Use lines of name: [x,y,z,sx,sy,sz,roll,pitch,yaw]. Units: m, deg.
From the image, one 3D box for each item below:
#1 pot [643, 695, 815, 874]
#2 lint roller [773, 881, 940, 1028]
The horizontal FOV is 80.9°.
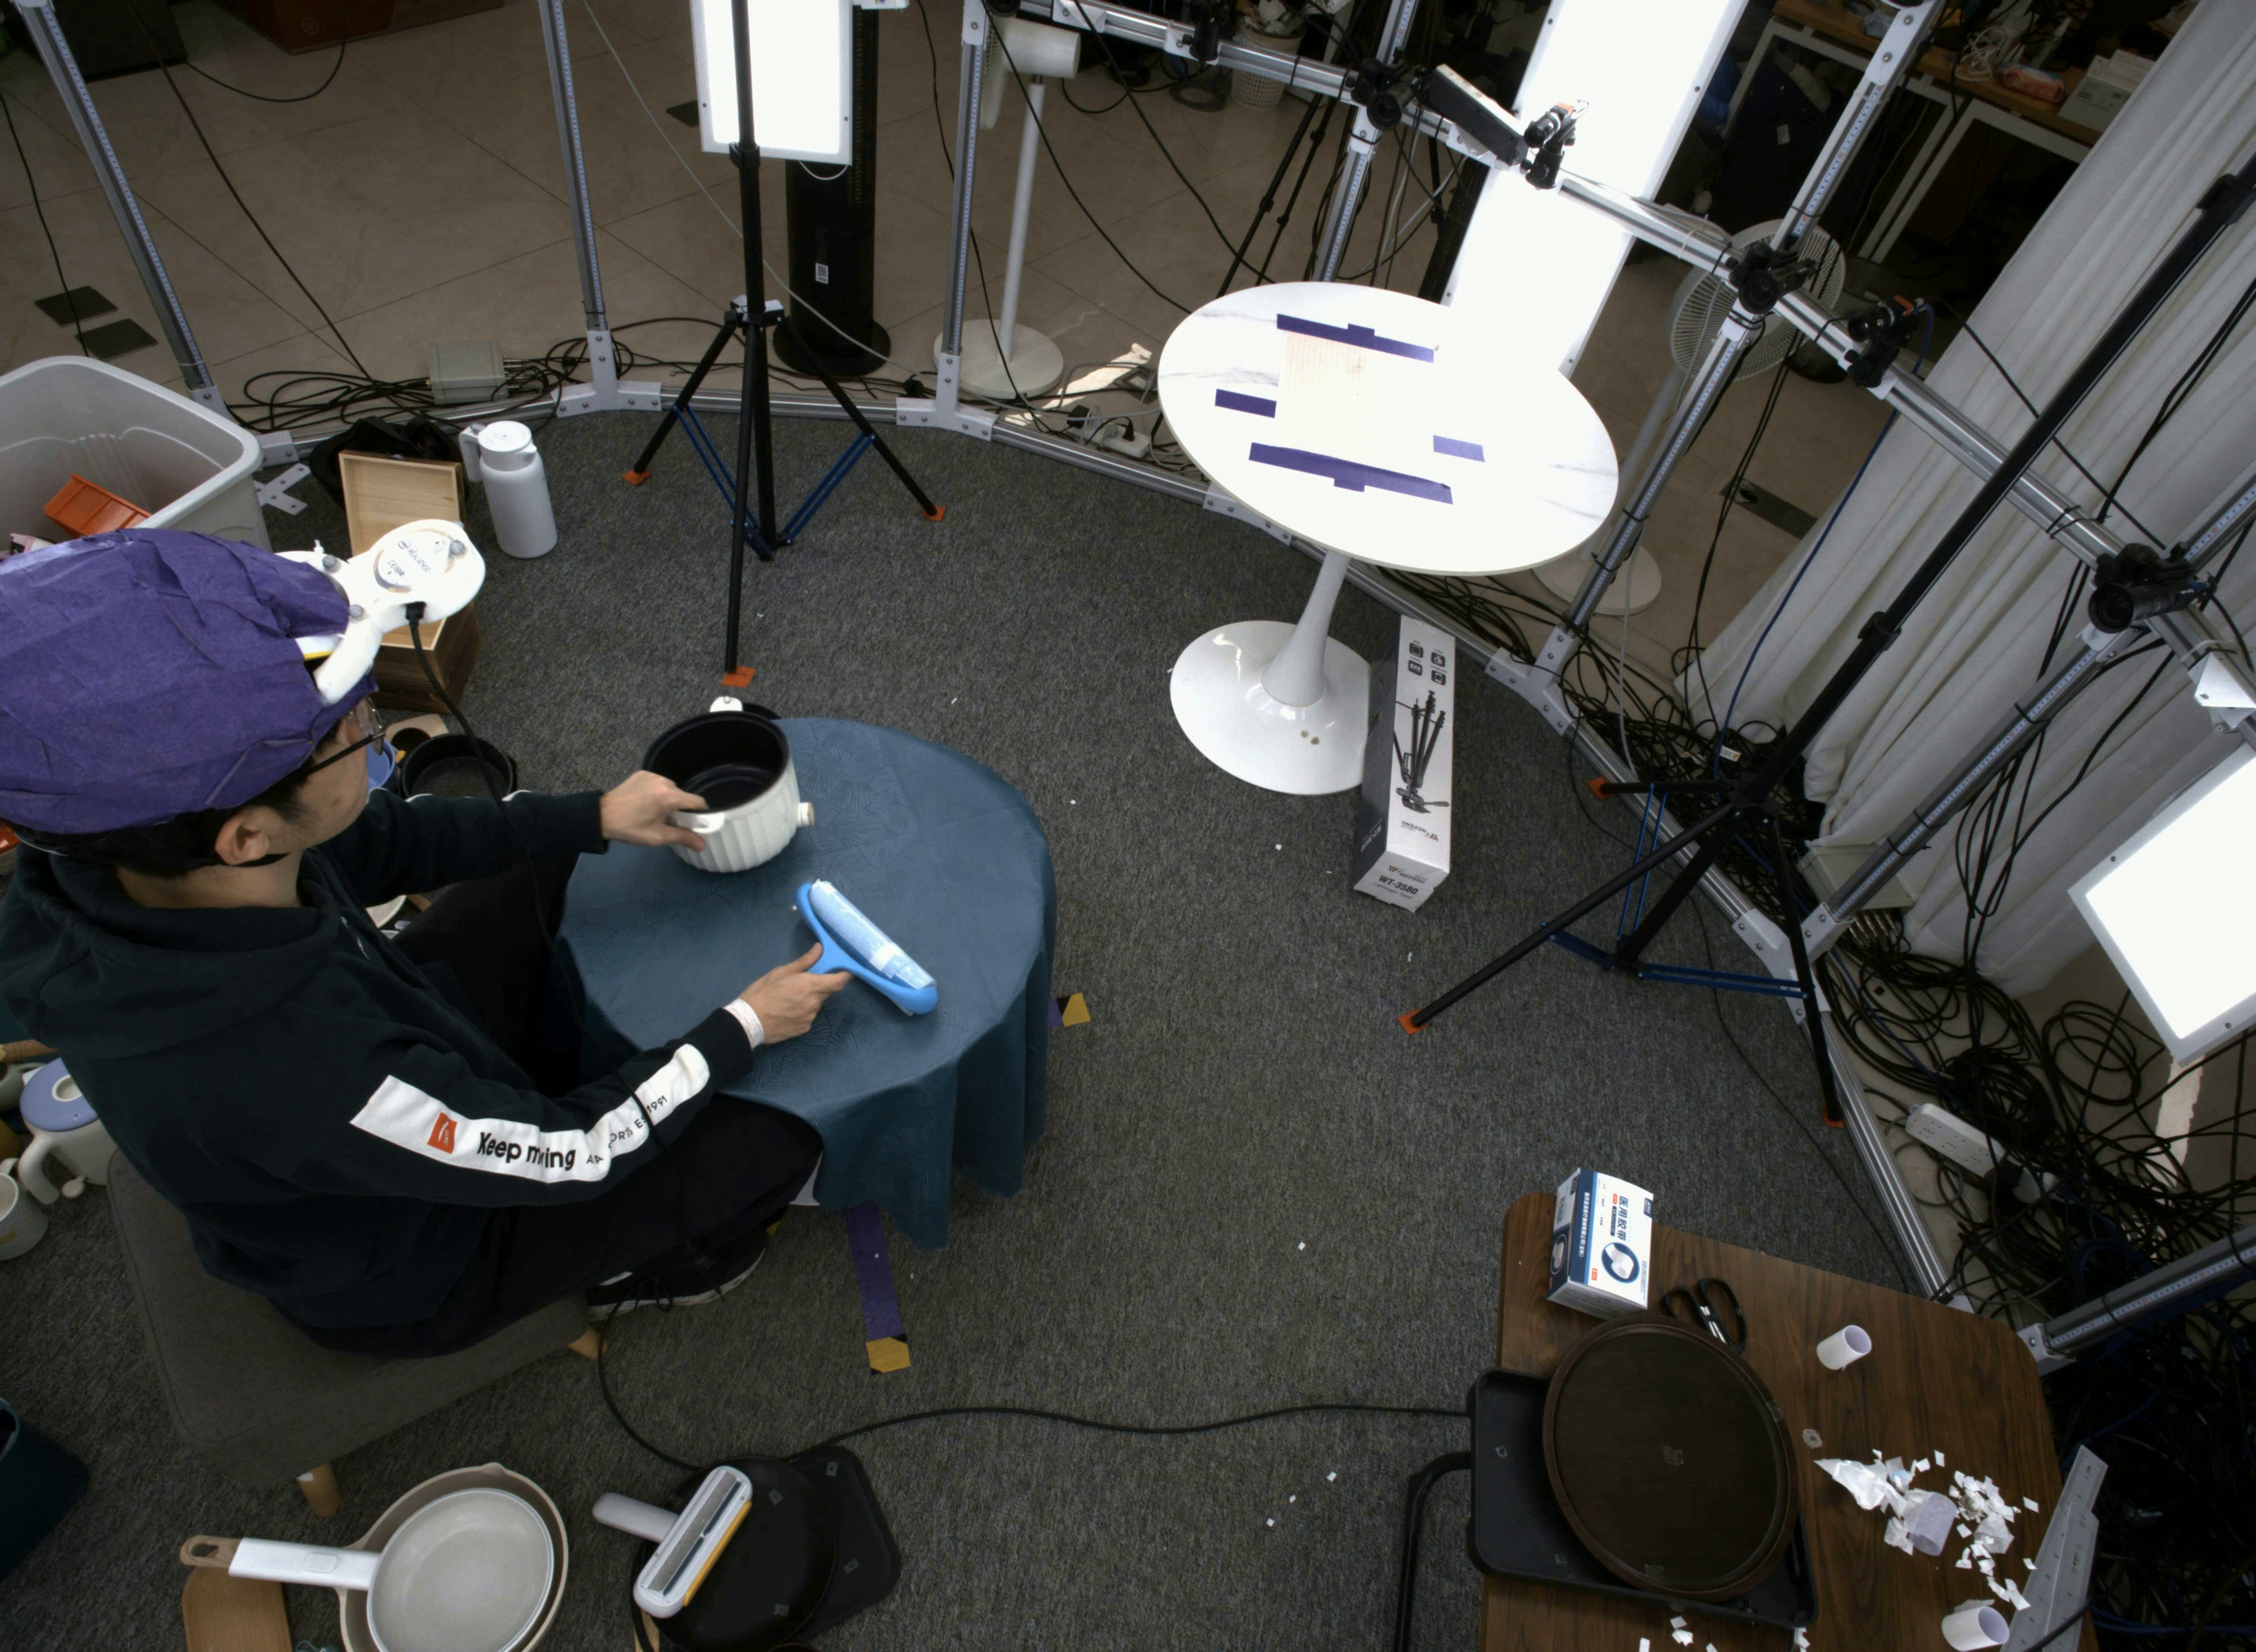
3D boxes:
pot: [-0.502,-0.040,1.637,0.189,0.147,0.235,-6,50,-4]
lint roller: [-0.354,0.173,1.568,0.226,0.069,0.180,39,45,8]
